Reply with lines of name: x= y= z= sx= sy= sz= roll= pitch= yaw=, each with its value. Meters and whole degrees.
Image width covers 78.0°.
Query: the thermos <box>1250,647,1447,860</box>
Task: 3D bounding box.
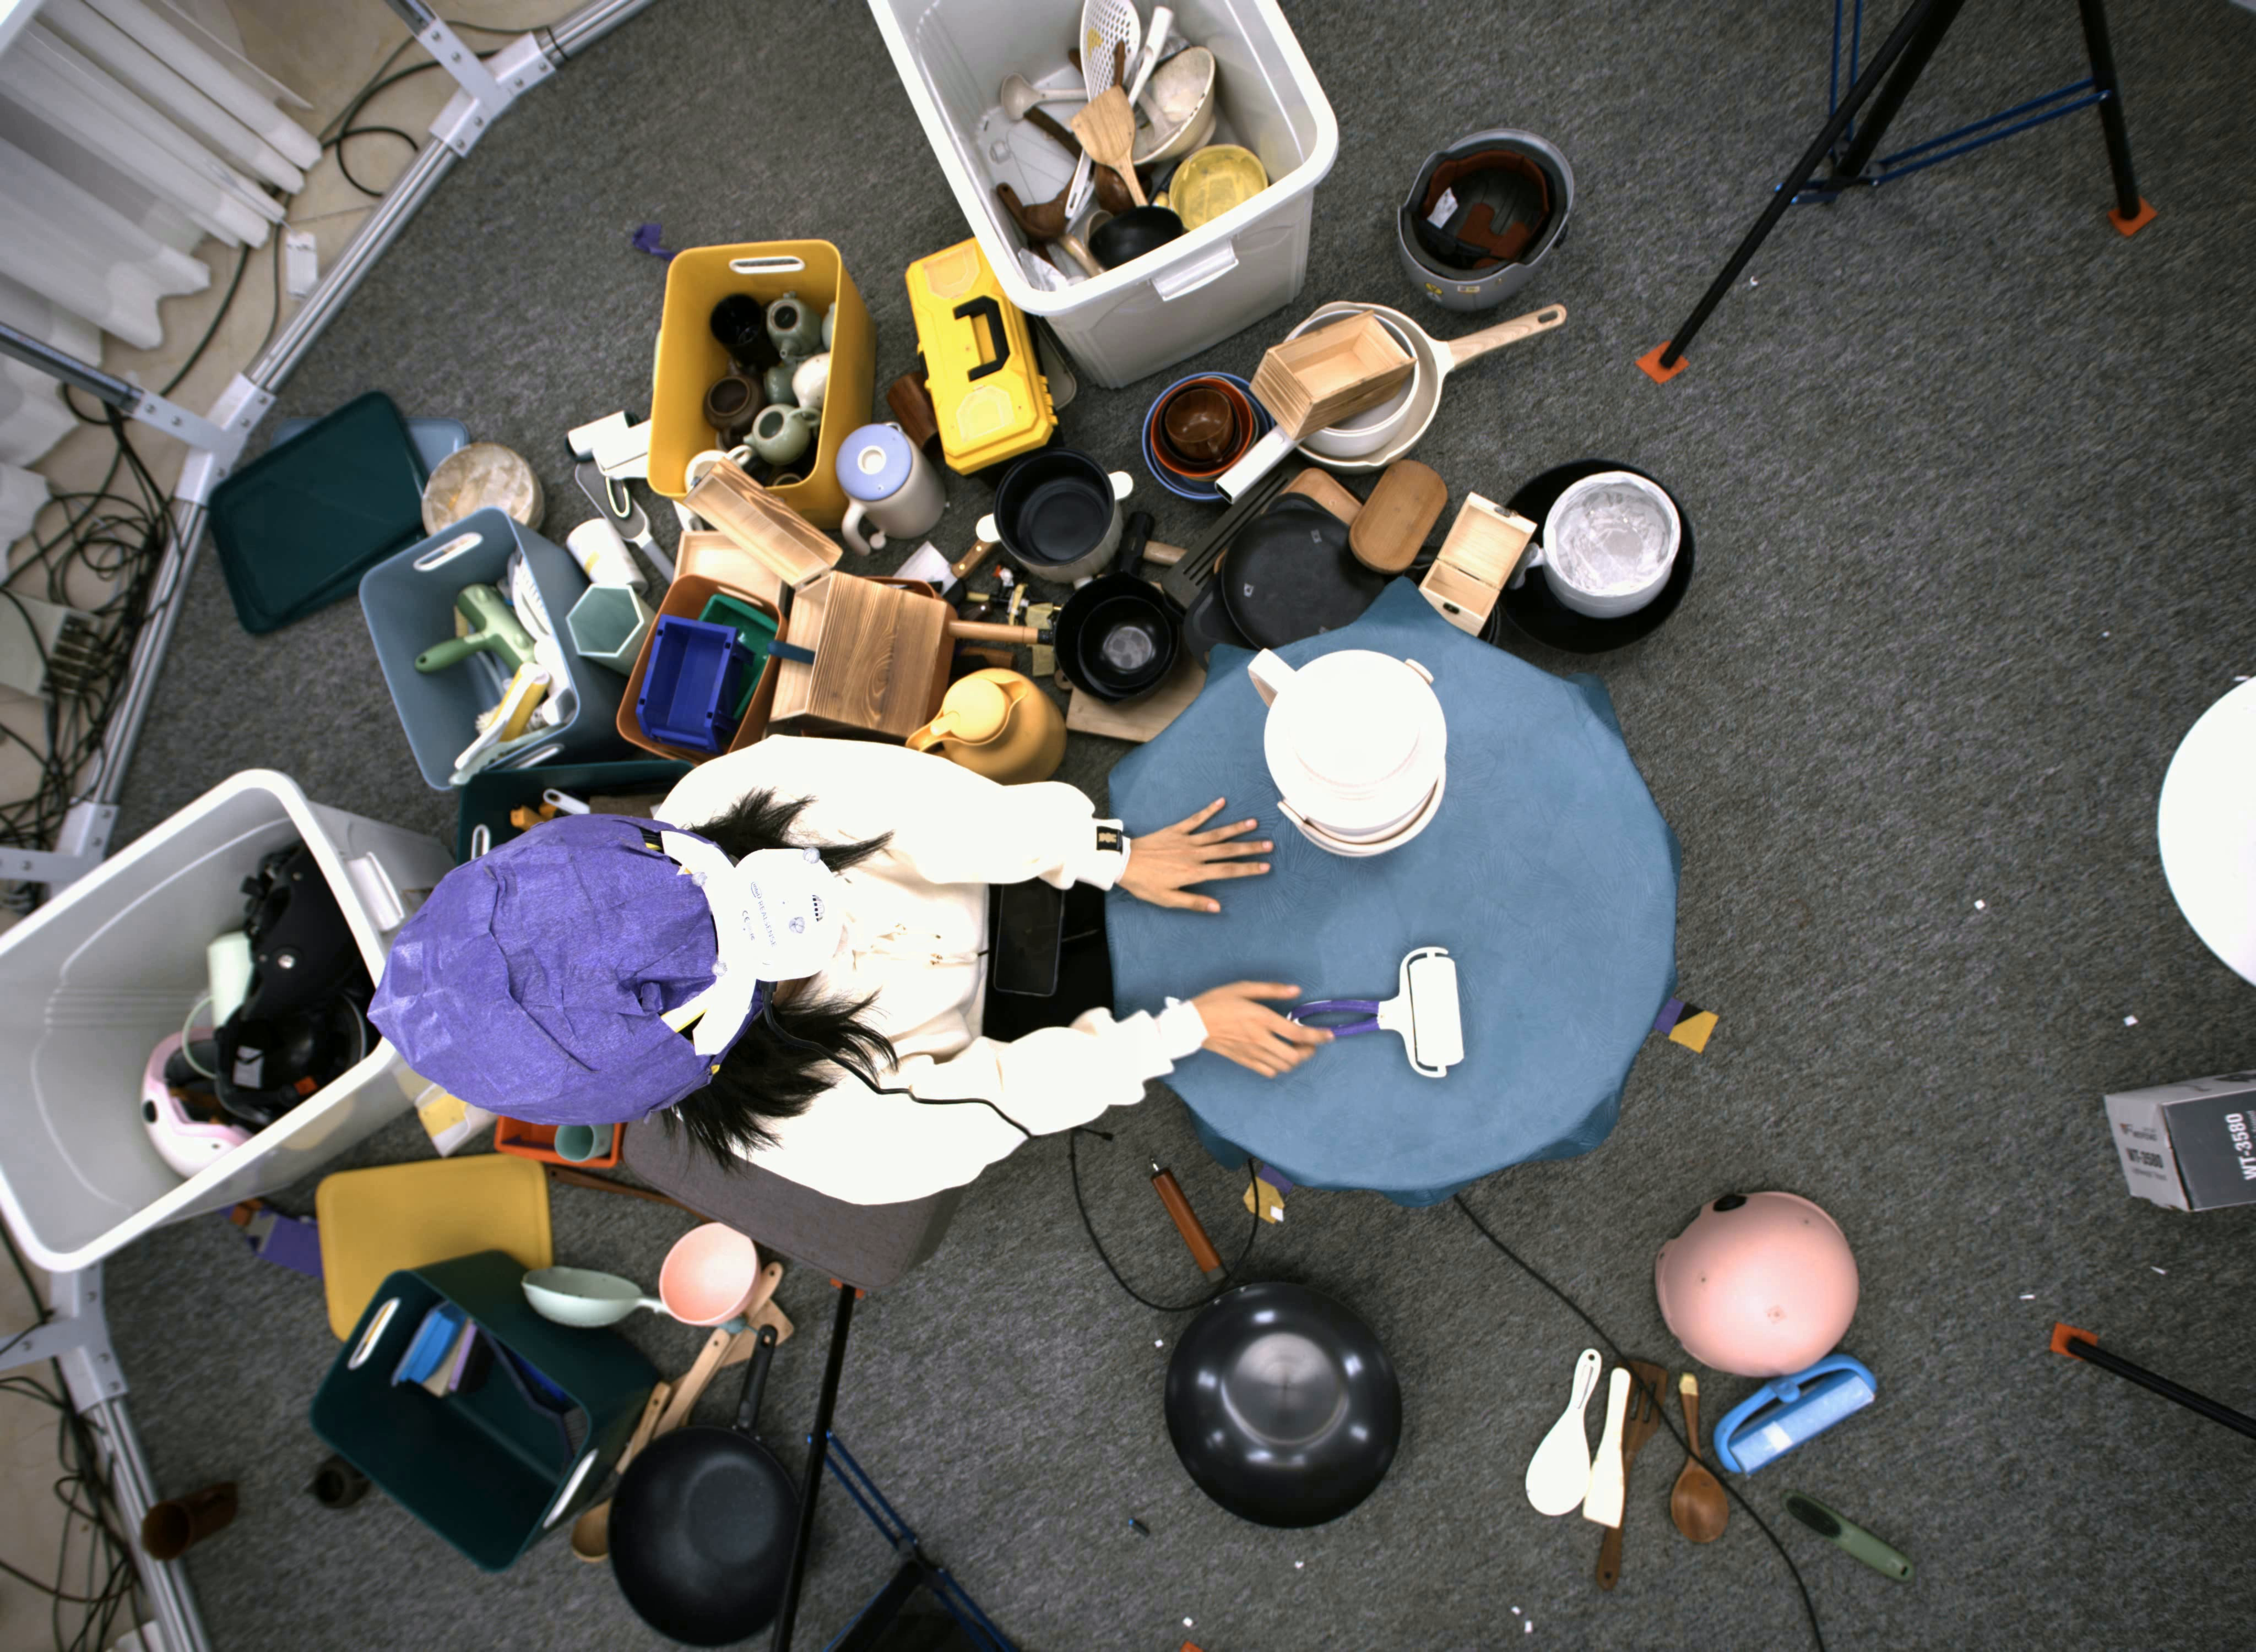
thermos: x=0.202 y=-0.076 z=1.280 sx=0.206 sy=0.407 sz=0.176 roll=42 pitch=93 yaw=11

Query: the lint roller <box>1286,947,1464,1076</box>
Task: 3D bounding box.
lint roller: x=0.254 y=0.193 z=1.432 sx=0.181 sy=0.050 sz=0.132 roll=-3 pitch=87 yaw=8
